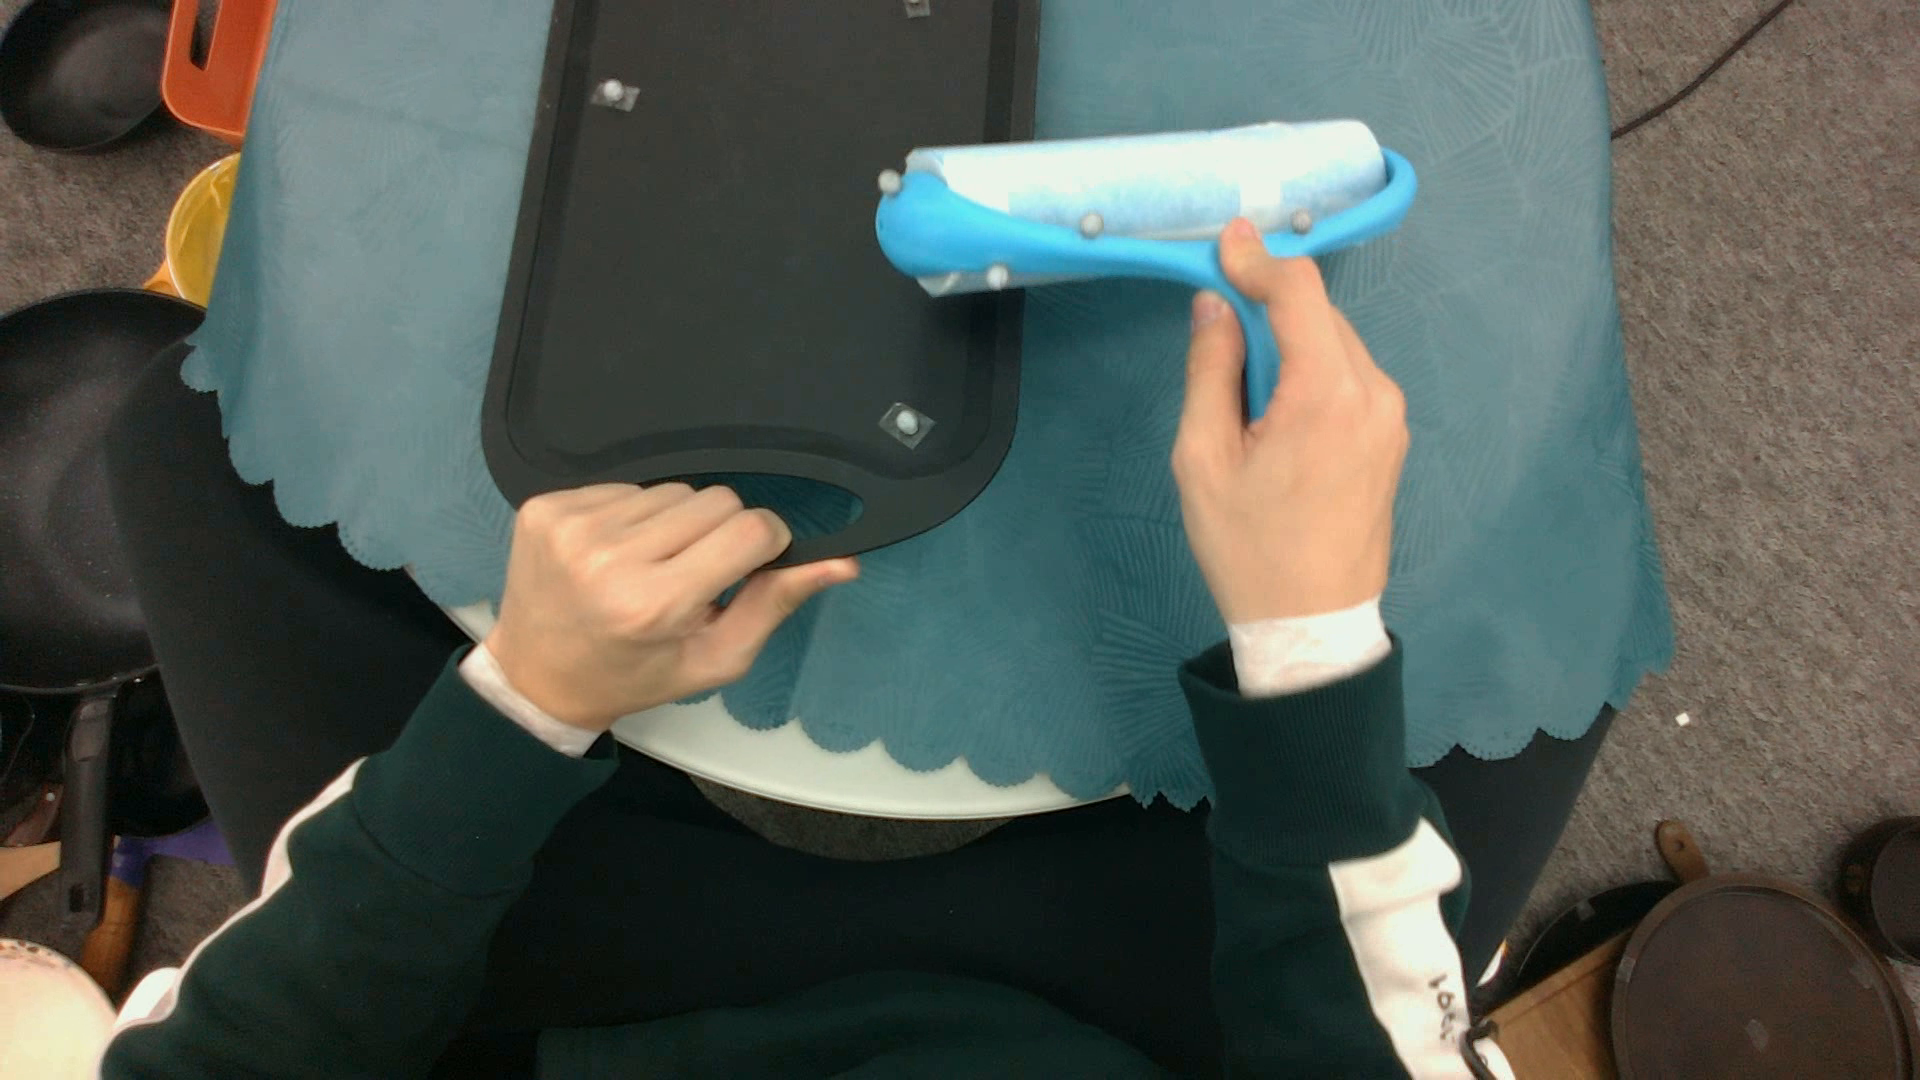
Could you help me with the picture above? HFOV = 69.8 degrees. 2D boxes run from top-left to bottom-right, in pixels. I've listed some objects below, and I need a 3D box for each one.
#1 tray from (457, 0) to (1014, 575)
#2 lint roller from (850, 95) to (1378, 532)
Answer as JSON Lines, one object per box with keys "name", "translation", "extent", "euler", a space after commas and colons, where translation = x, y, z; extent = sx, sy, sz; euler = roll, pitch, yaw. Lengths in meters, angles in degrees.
{"name": "tray", "translation": [-0.085, -0.140, 0.560], "extent": [0.211, 0.010, 0.326], "euler": [1, 69, 3]}
{"name": "lint roller", "translation": [0.089, -0.094, 0.524], "extent": [0.229, 0.067, 0.180], "euler": [-15, 64, -27]}
